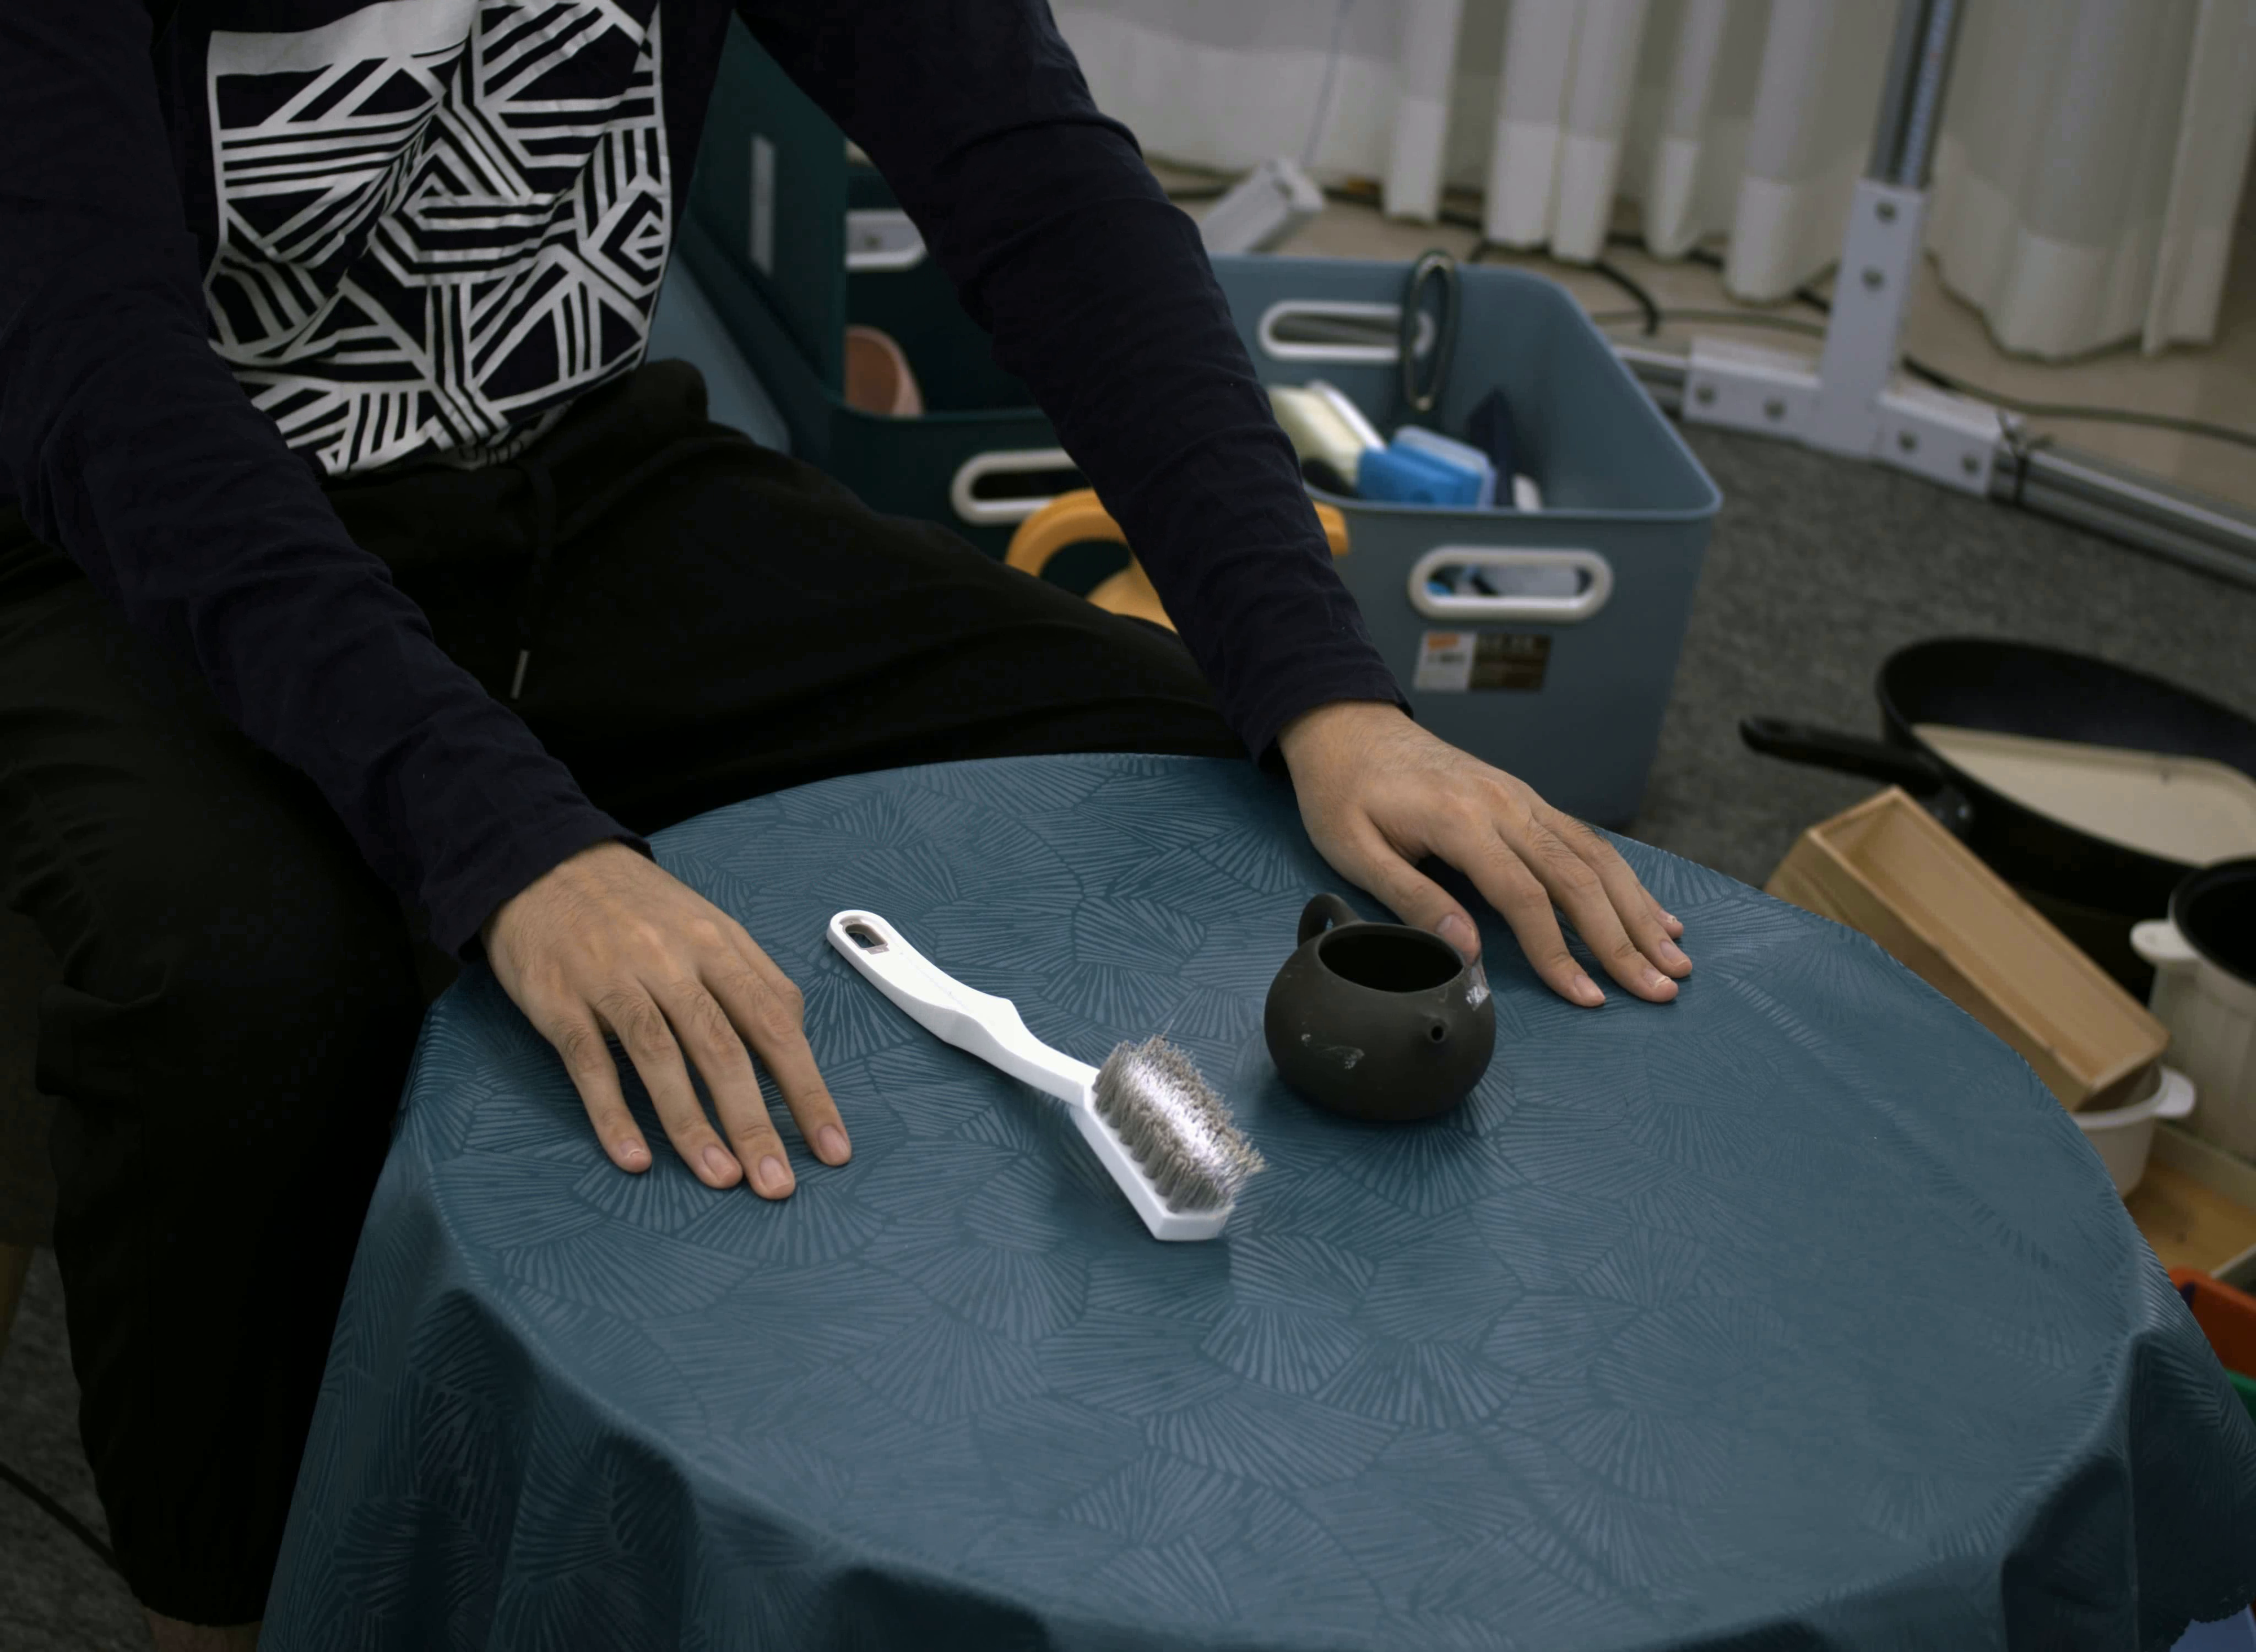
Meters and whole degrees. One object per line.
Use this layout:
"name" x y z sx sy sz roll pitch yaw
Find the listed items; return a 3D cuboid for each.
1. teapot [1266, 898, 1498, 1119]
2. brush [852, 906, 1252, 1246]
"teapot" 0.086 0.063 1.889 0.082 0.053 0.115 -5 29 -20
"brush" -0.032 0.069 1.853 0.034 0.050 0.246 -14 33 -27
